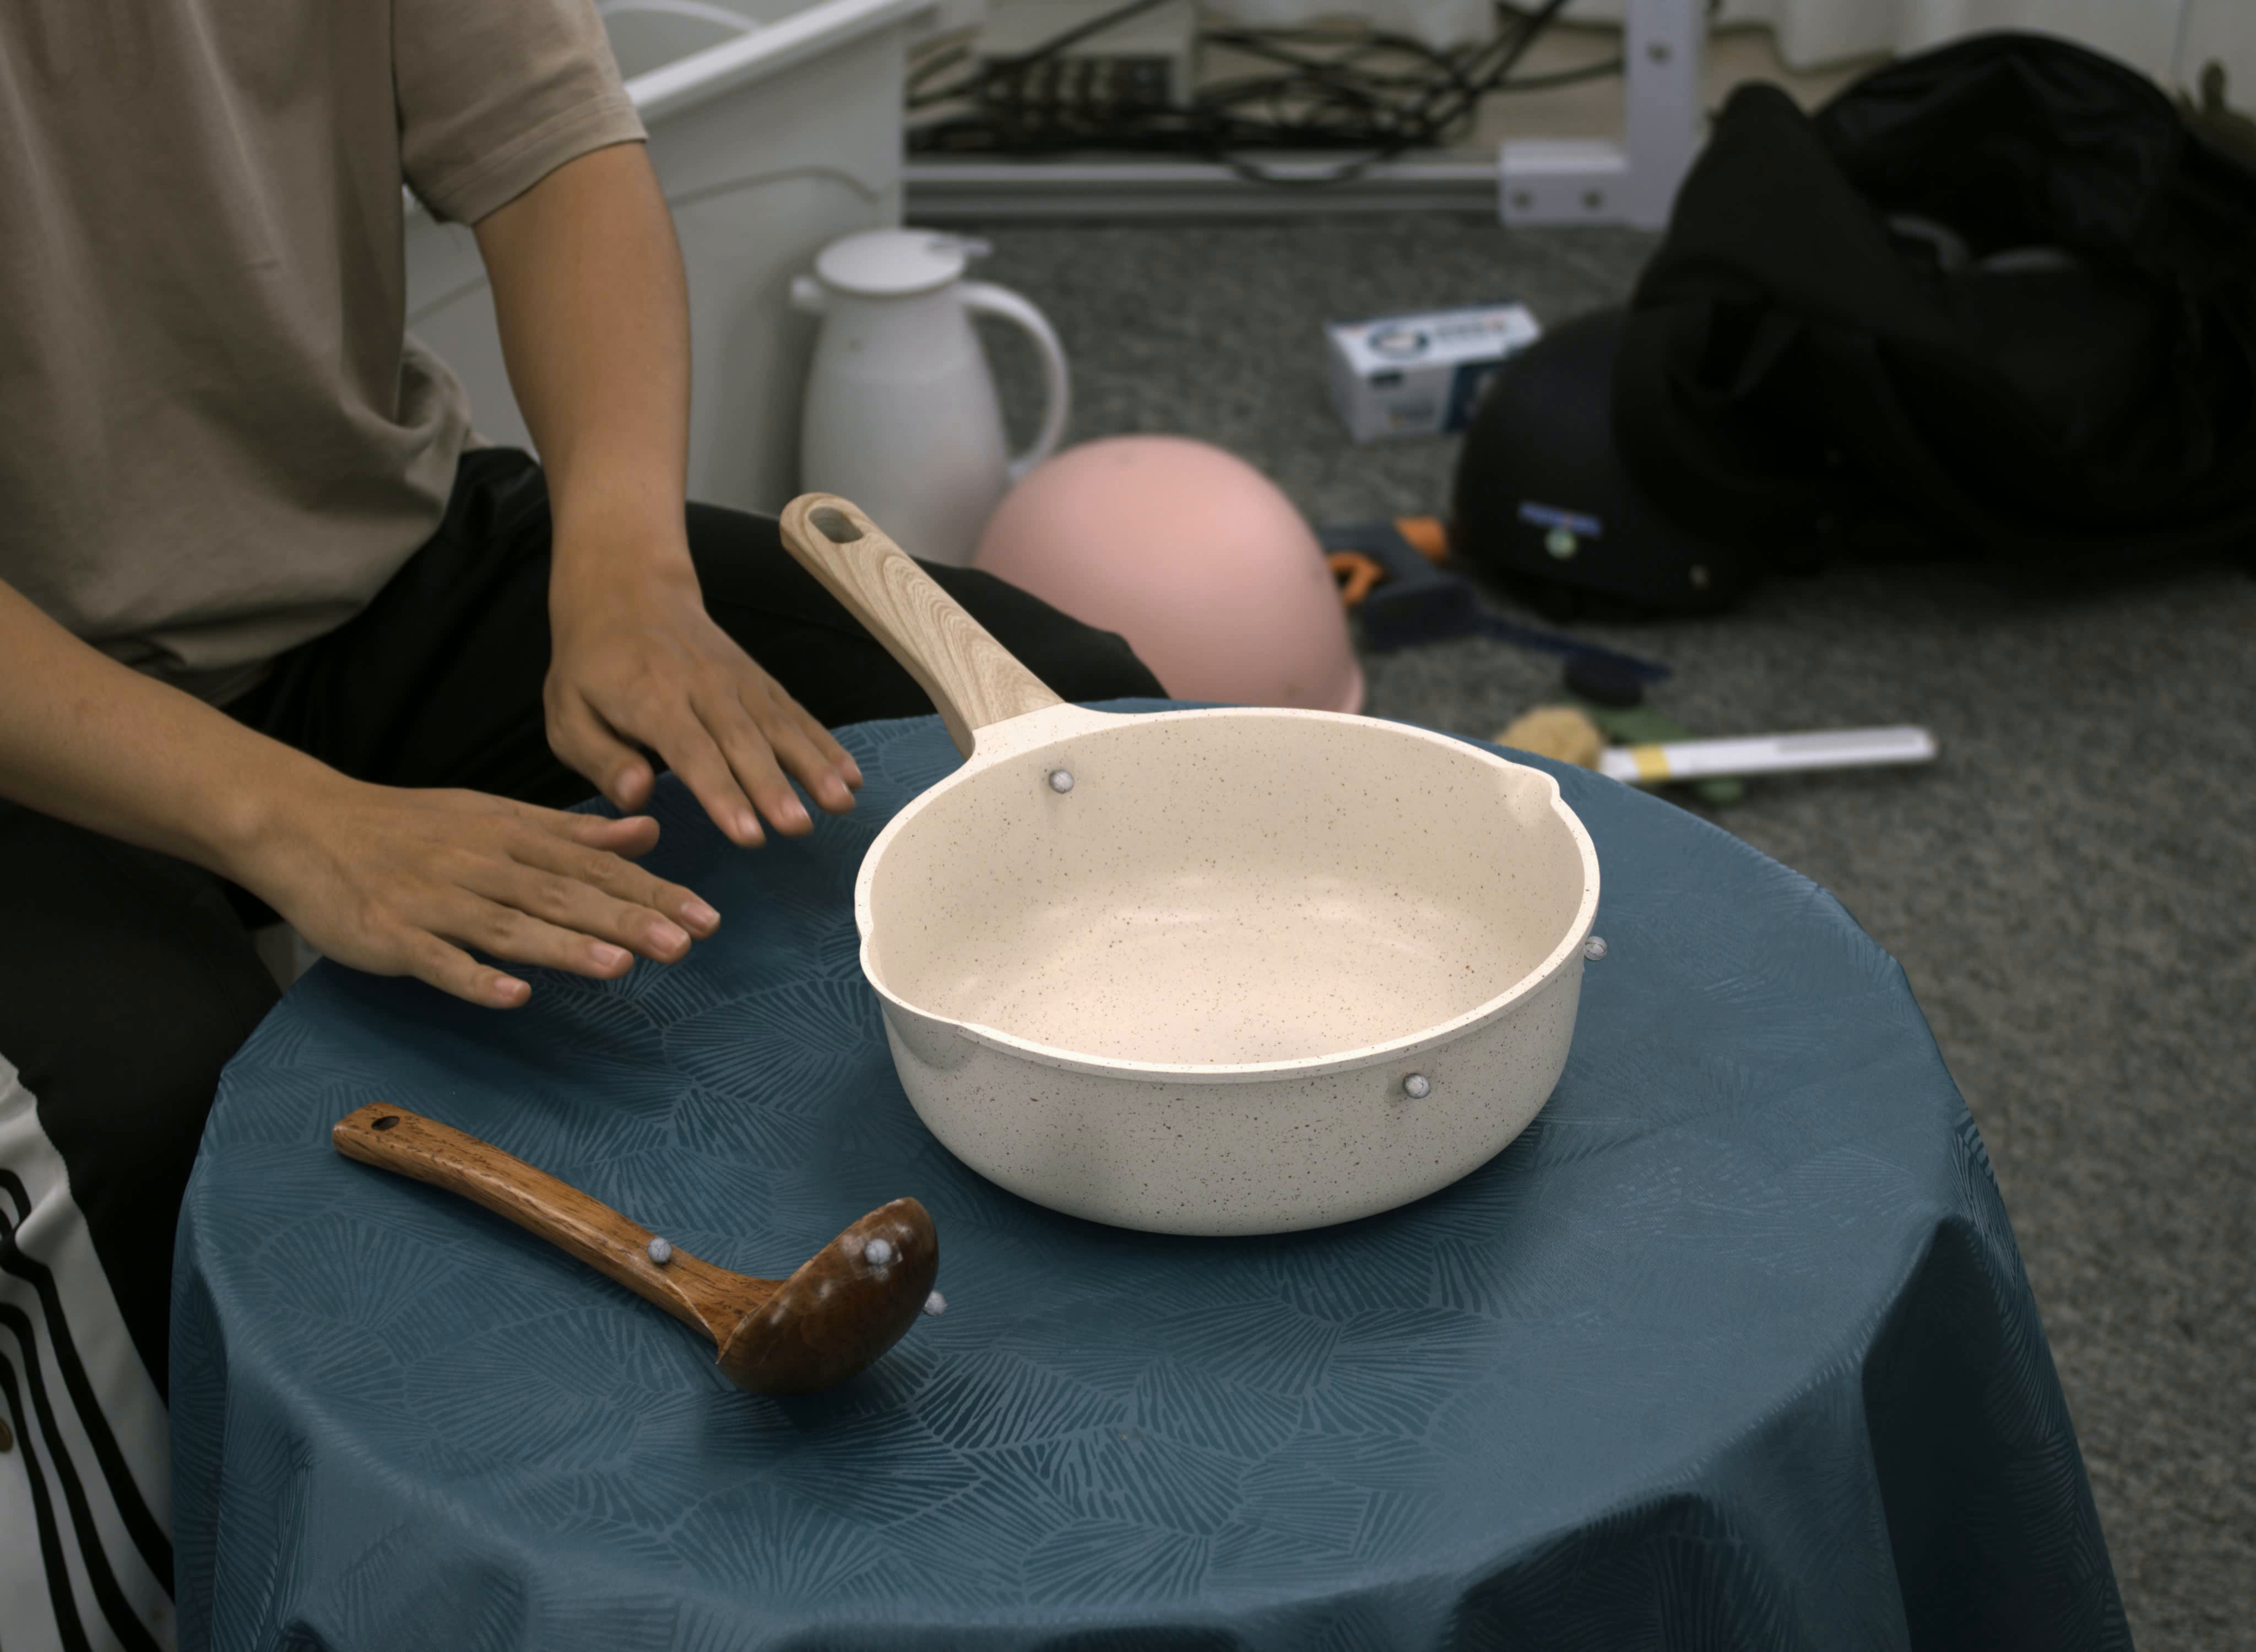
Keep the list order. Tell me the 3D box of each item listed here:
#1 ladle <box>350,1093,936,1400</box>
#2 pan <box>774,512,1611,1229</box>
[{"bbox_3d":[-0.168,0.115,1.805,0.083,0.076,0.274,-28,37,-36],"label":"ladle"},{"bbox_3d":[-0.008,0.009,1.973,0.265,0.101,0.436,-18,31,-25],"label":"pan"}]
